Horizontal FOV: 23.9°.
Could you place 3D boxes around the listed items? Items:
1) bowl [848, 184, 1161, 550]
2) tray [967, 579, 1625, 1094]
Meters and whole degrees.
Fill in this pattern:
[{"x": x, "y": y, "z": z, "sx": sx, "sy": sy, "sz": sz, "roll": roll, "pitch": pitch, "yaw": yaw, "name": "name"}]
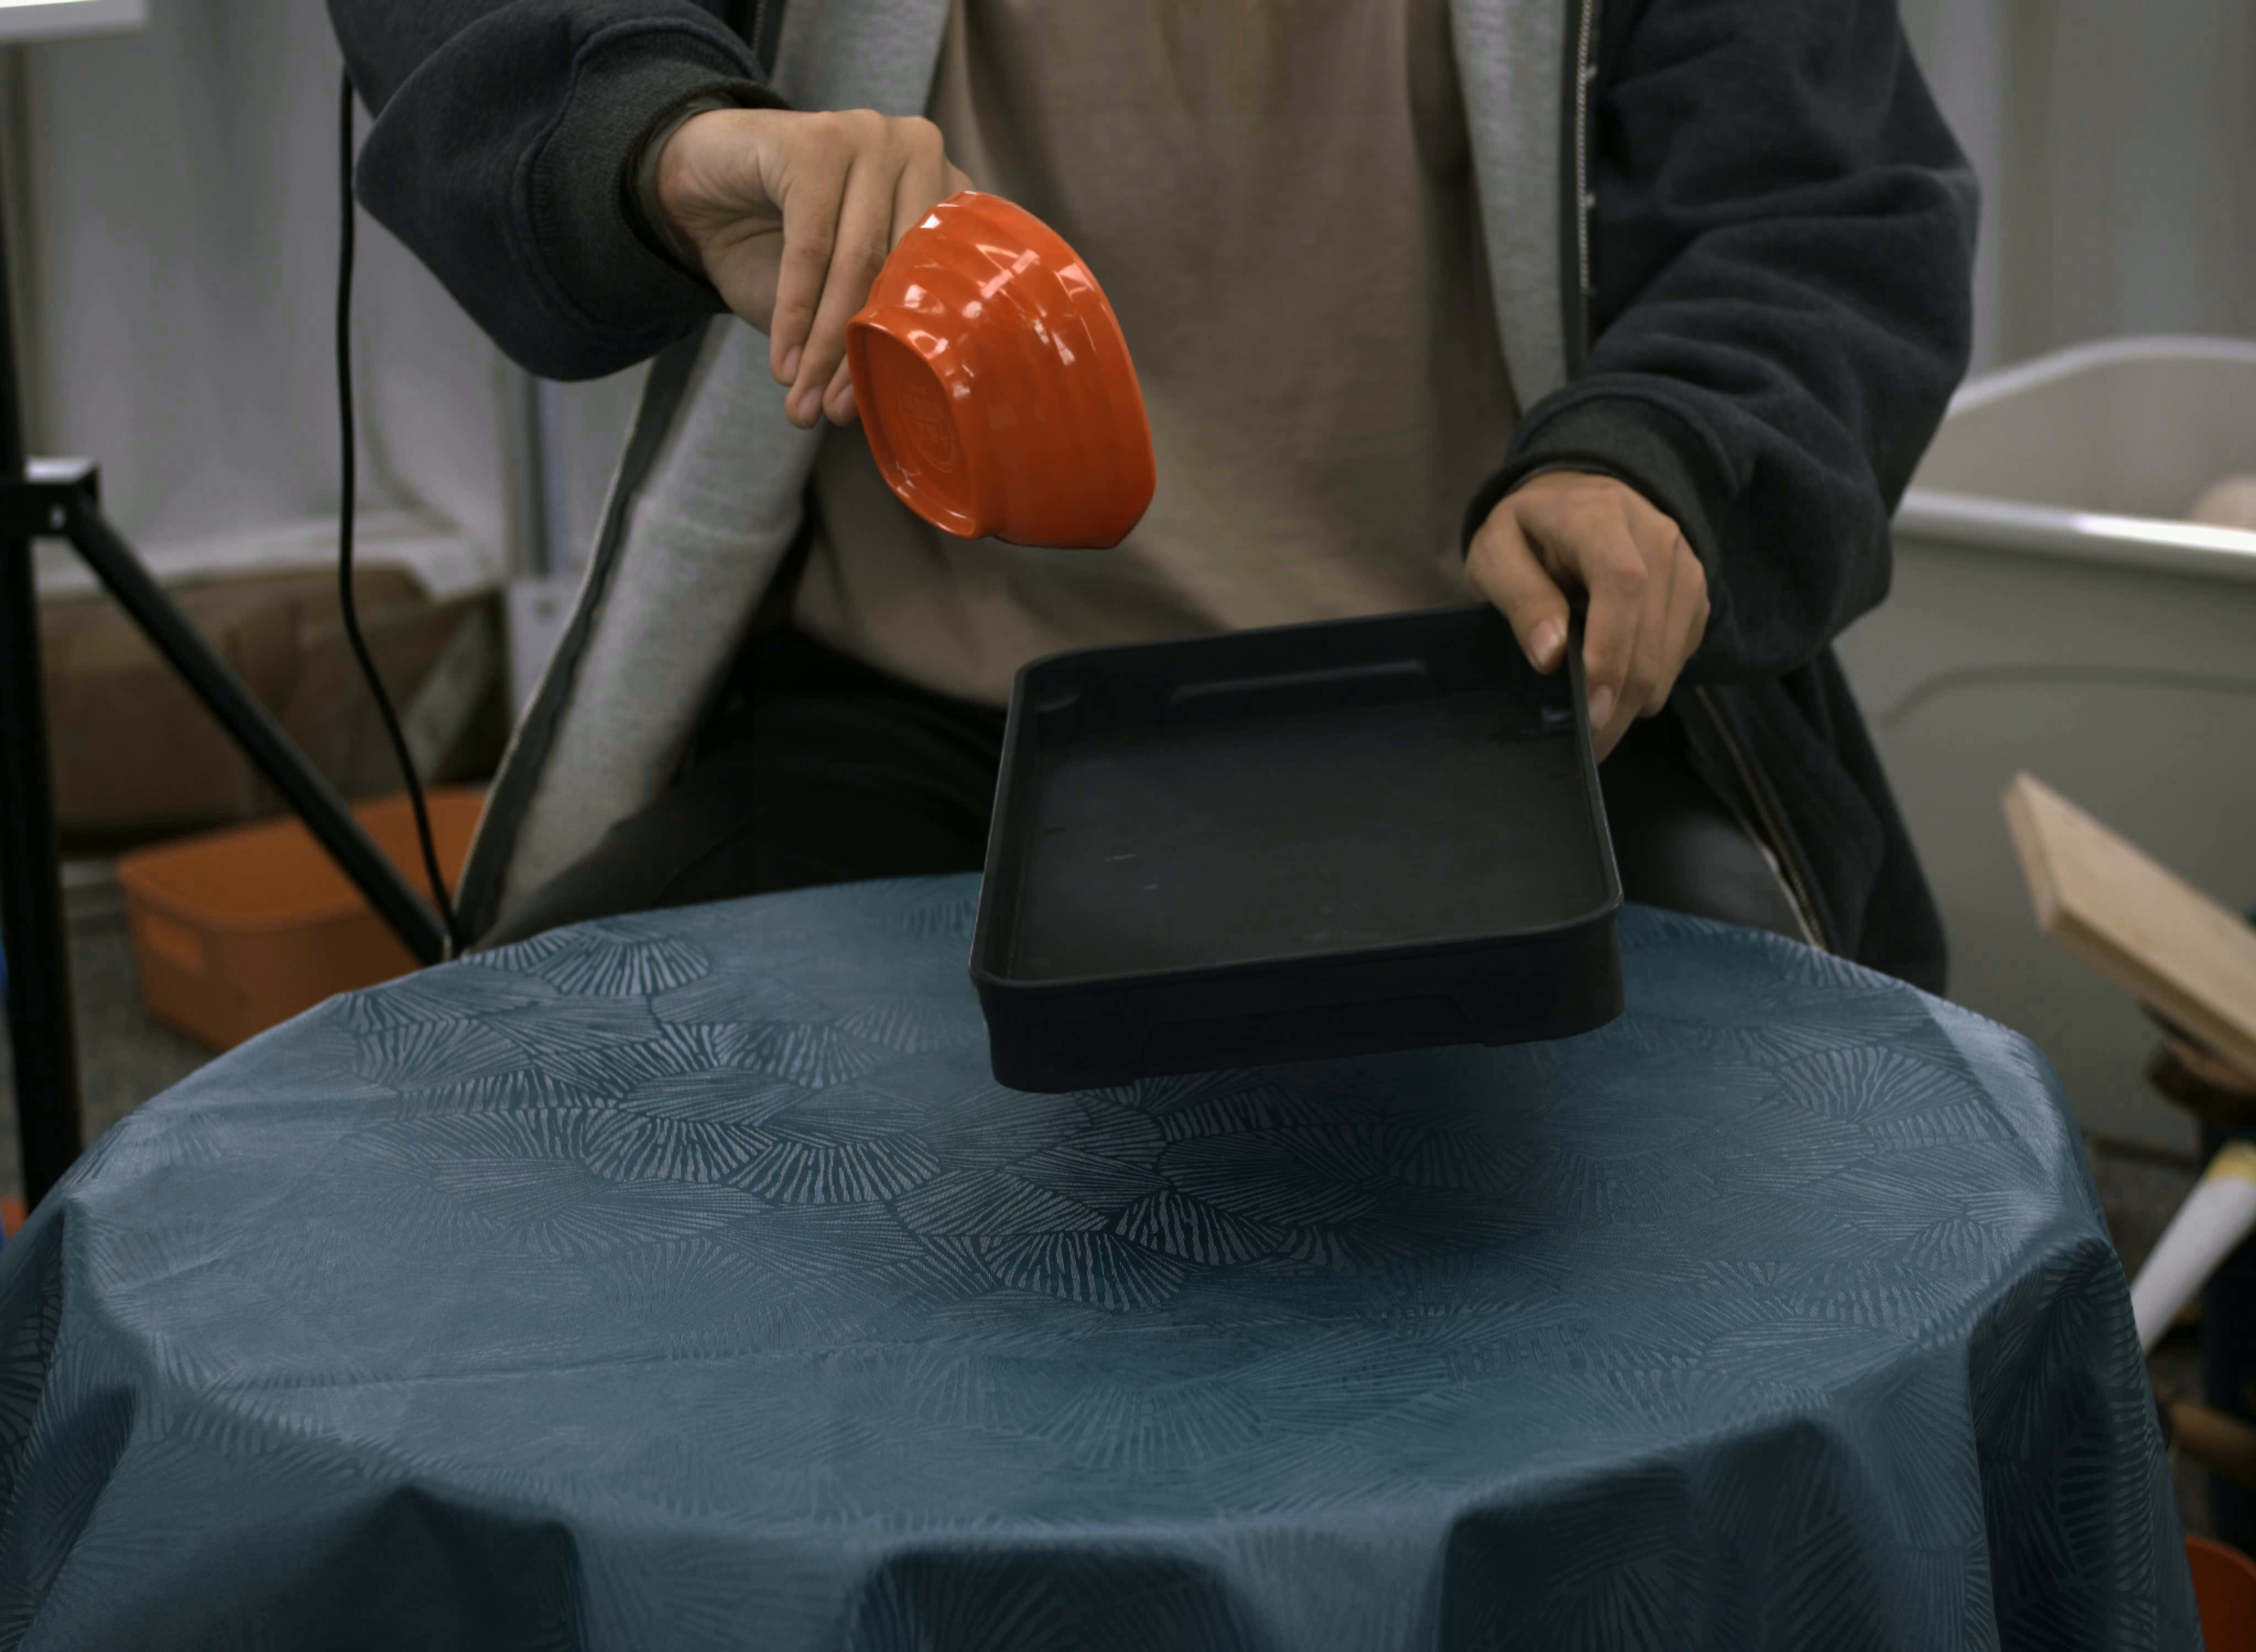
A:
[{"x": -0.043, "y": -0.128, "z": 1.586, "sx": 0.050, "sy": 0.118, "sz": 0.121, "roll": -27, "pitch": 25, "yaw": -22, "name": "bowl"}, {"x": 0.050, "y": -0.002, "z": 1.599, "sx": 0.184, "sy": 0.037, "sz": 0.319, "roll": -7, "pitch": 20, "yaw": 4, "name": "tray"}]
